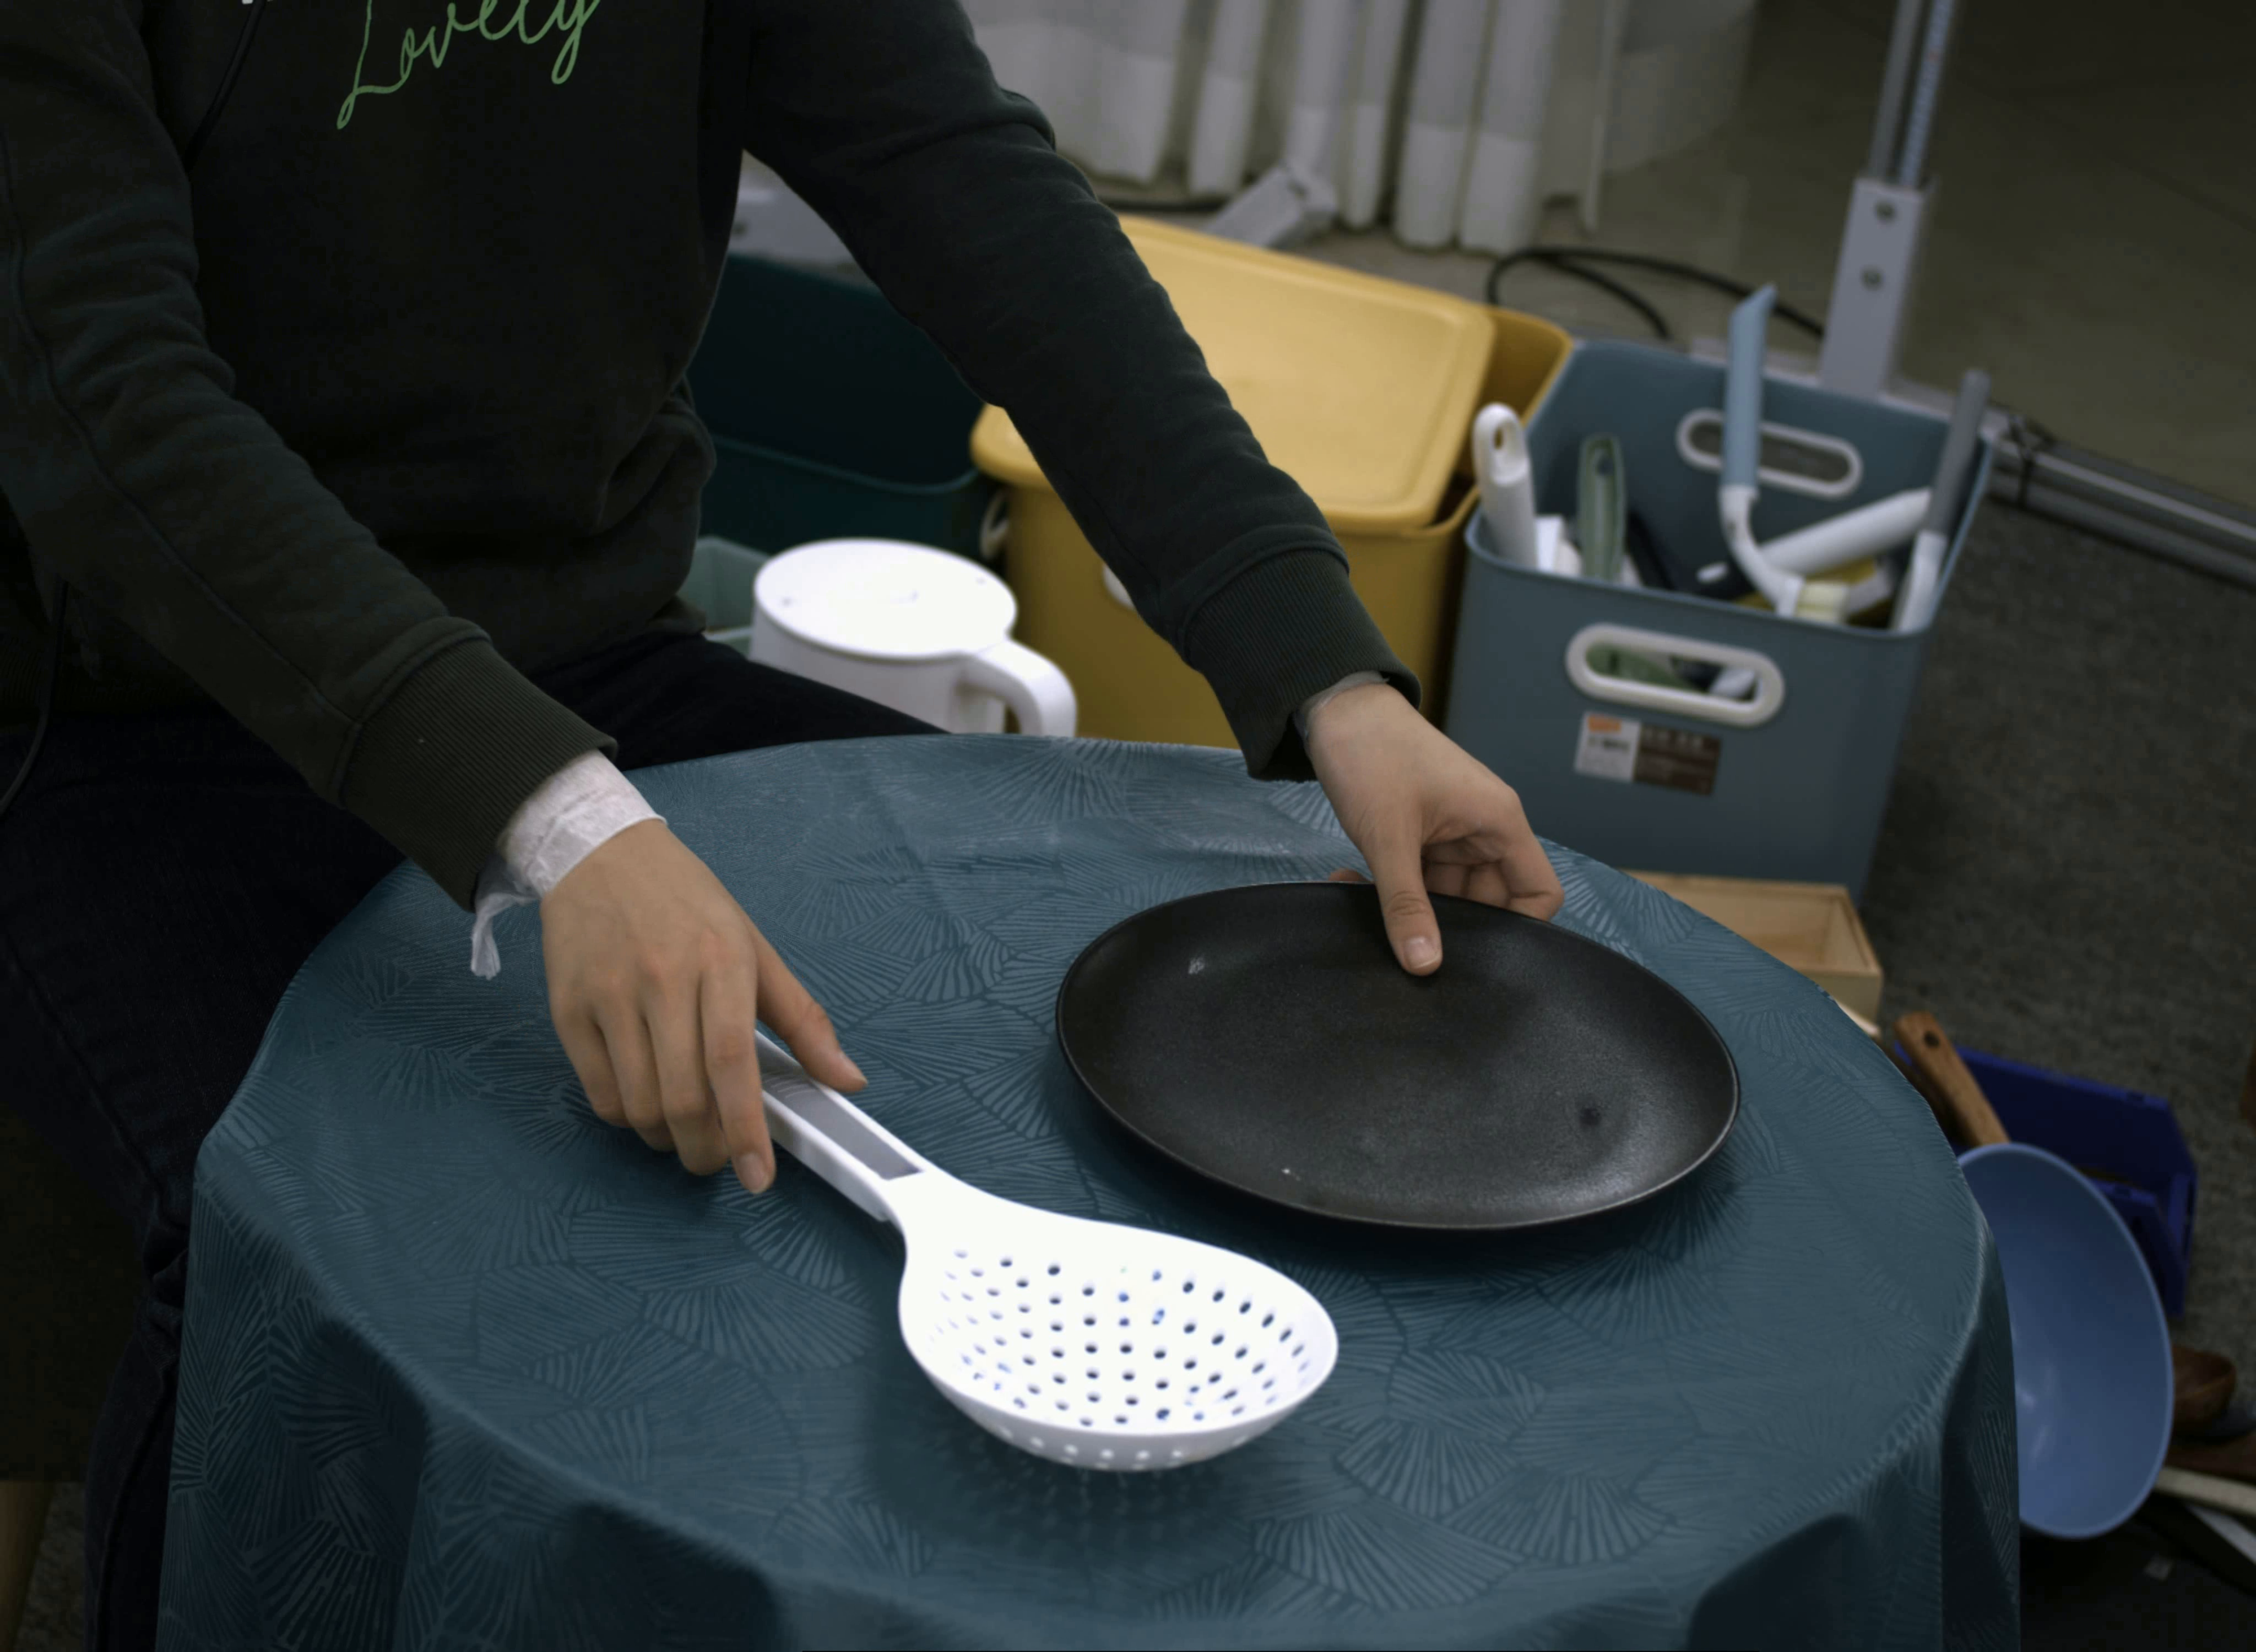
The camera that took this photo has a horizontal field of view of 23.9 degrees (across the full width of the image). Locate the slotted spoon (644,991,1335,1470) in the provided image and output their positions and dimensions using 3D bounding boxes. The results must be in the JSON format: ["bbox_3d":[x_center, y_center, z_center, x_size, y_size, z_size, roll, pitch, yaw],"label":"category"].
[{"bbox_3d":[-0.064,0.125,1.732,0.135,0.045,0.353,-10,30,-33],"label":"slotted spoon"}]

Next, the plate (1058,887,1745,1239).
[{"bbox_3d":[0.095,0.087,1.869,0.243,0.023,0.246,5,27,-3],"label":"plate"}]
